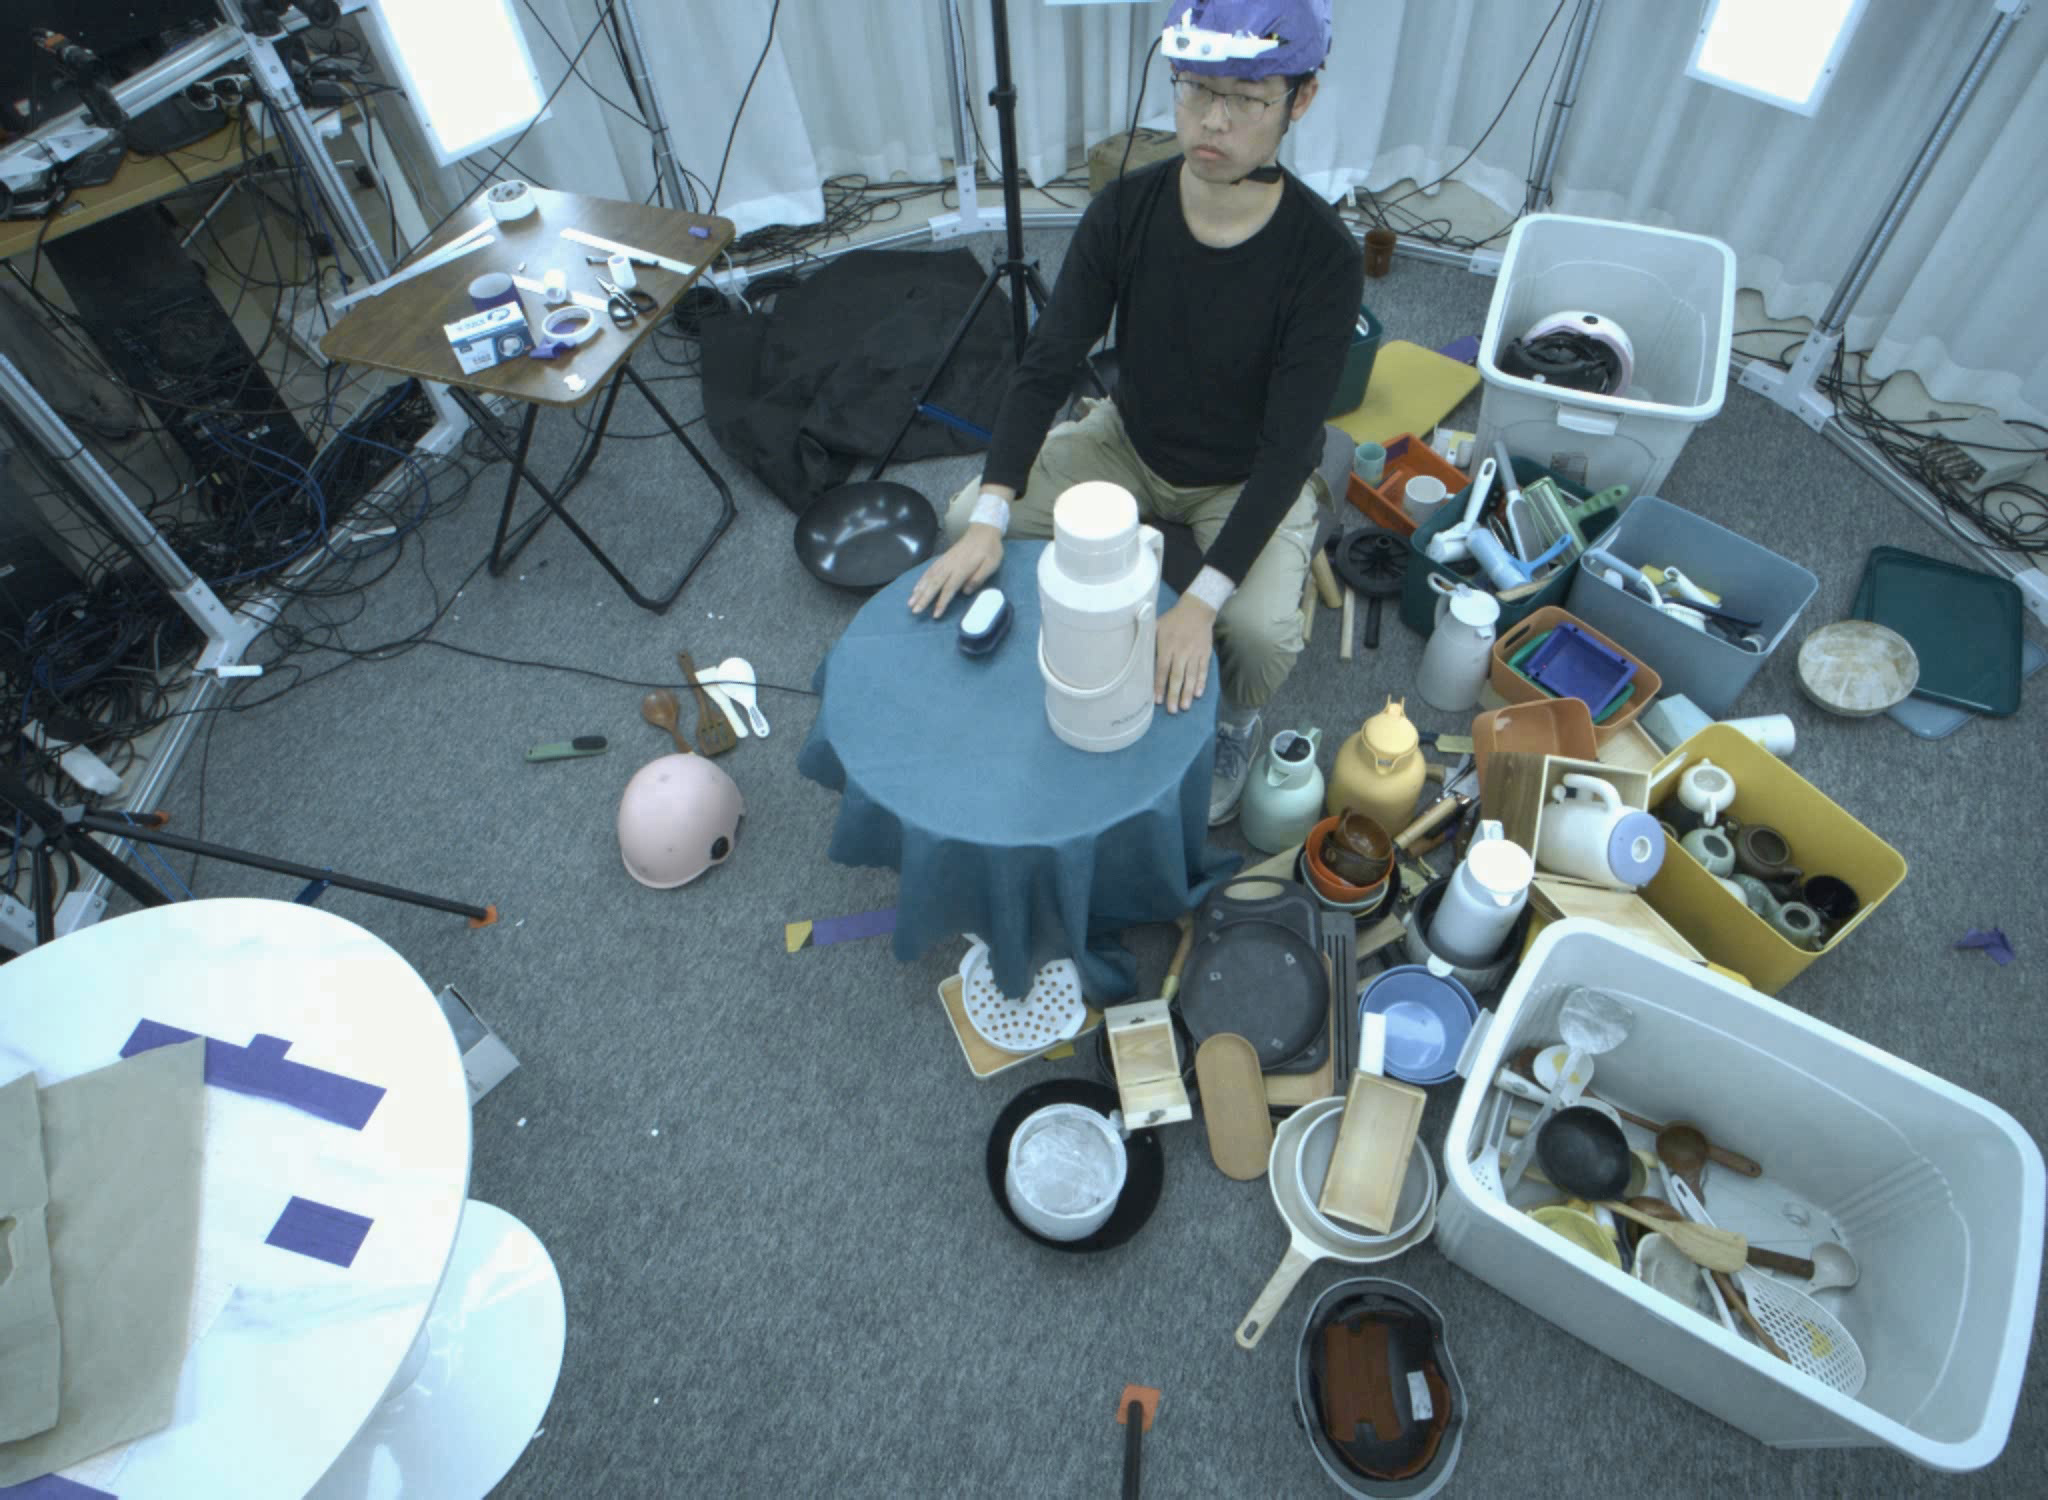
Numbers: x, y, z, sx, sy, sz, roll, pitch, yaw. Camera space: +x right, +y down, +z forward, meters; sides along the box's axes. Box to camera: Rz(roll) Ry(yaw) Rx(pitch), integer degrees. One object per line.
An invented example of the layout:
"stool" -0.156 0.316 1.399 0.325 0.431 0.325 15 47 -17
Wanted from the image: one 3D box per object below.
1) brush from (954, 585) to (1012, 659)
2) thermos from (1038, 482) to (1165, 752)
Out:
"brush" -0.064 -0.197 1.895 0.067 0.062 0.122 24 61 15
"thermos" 0.114 -0.184 1.669 0.172 0.411 0.208 36 65 27
